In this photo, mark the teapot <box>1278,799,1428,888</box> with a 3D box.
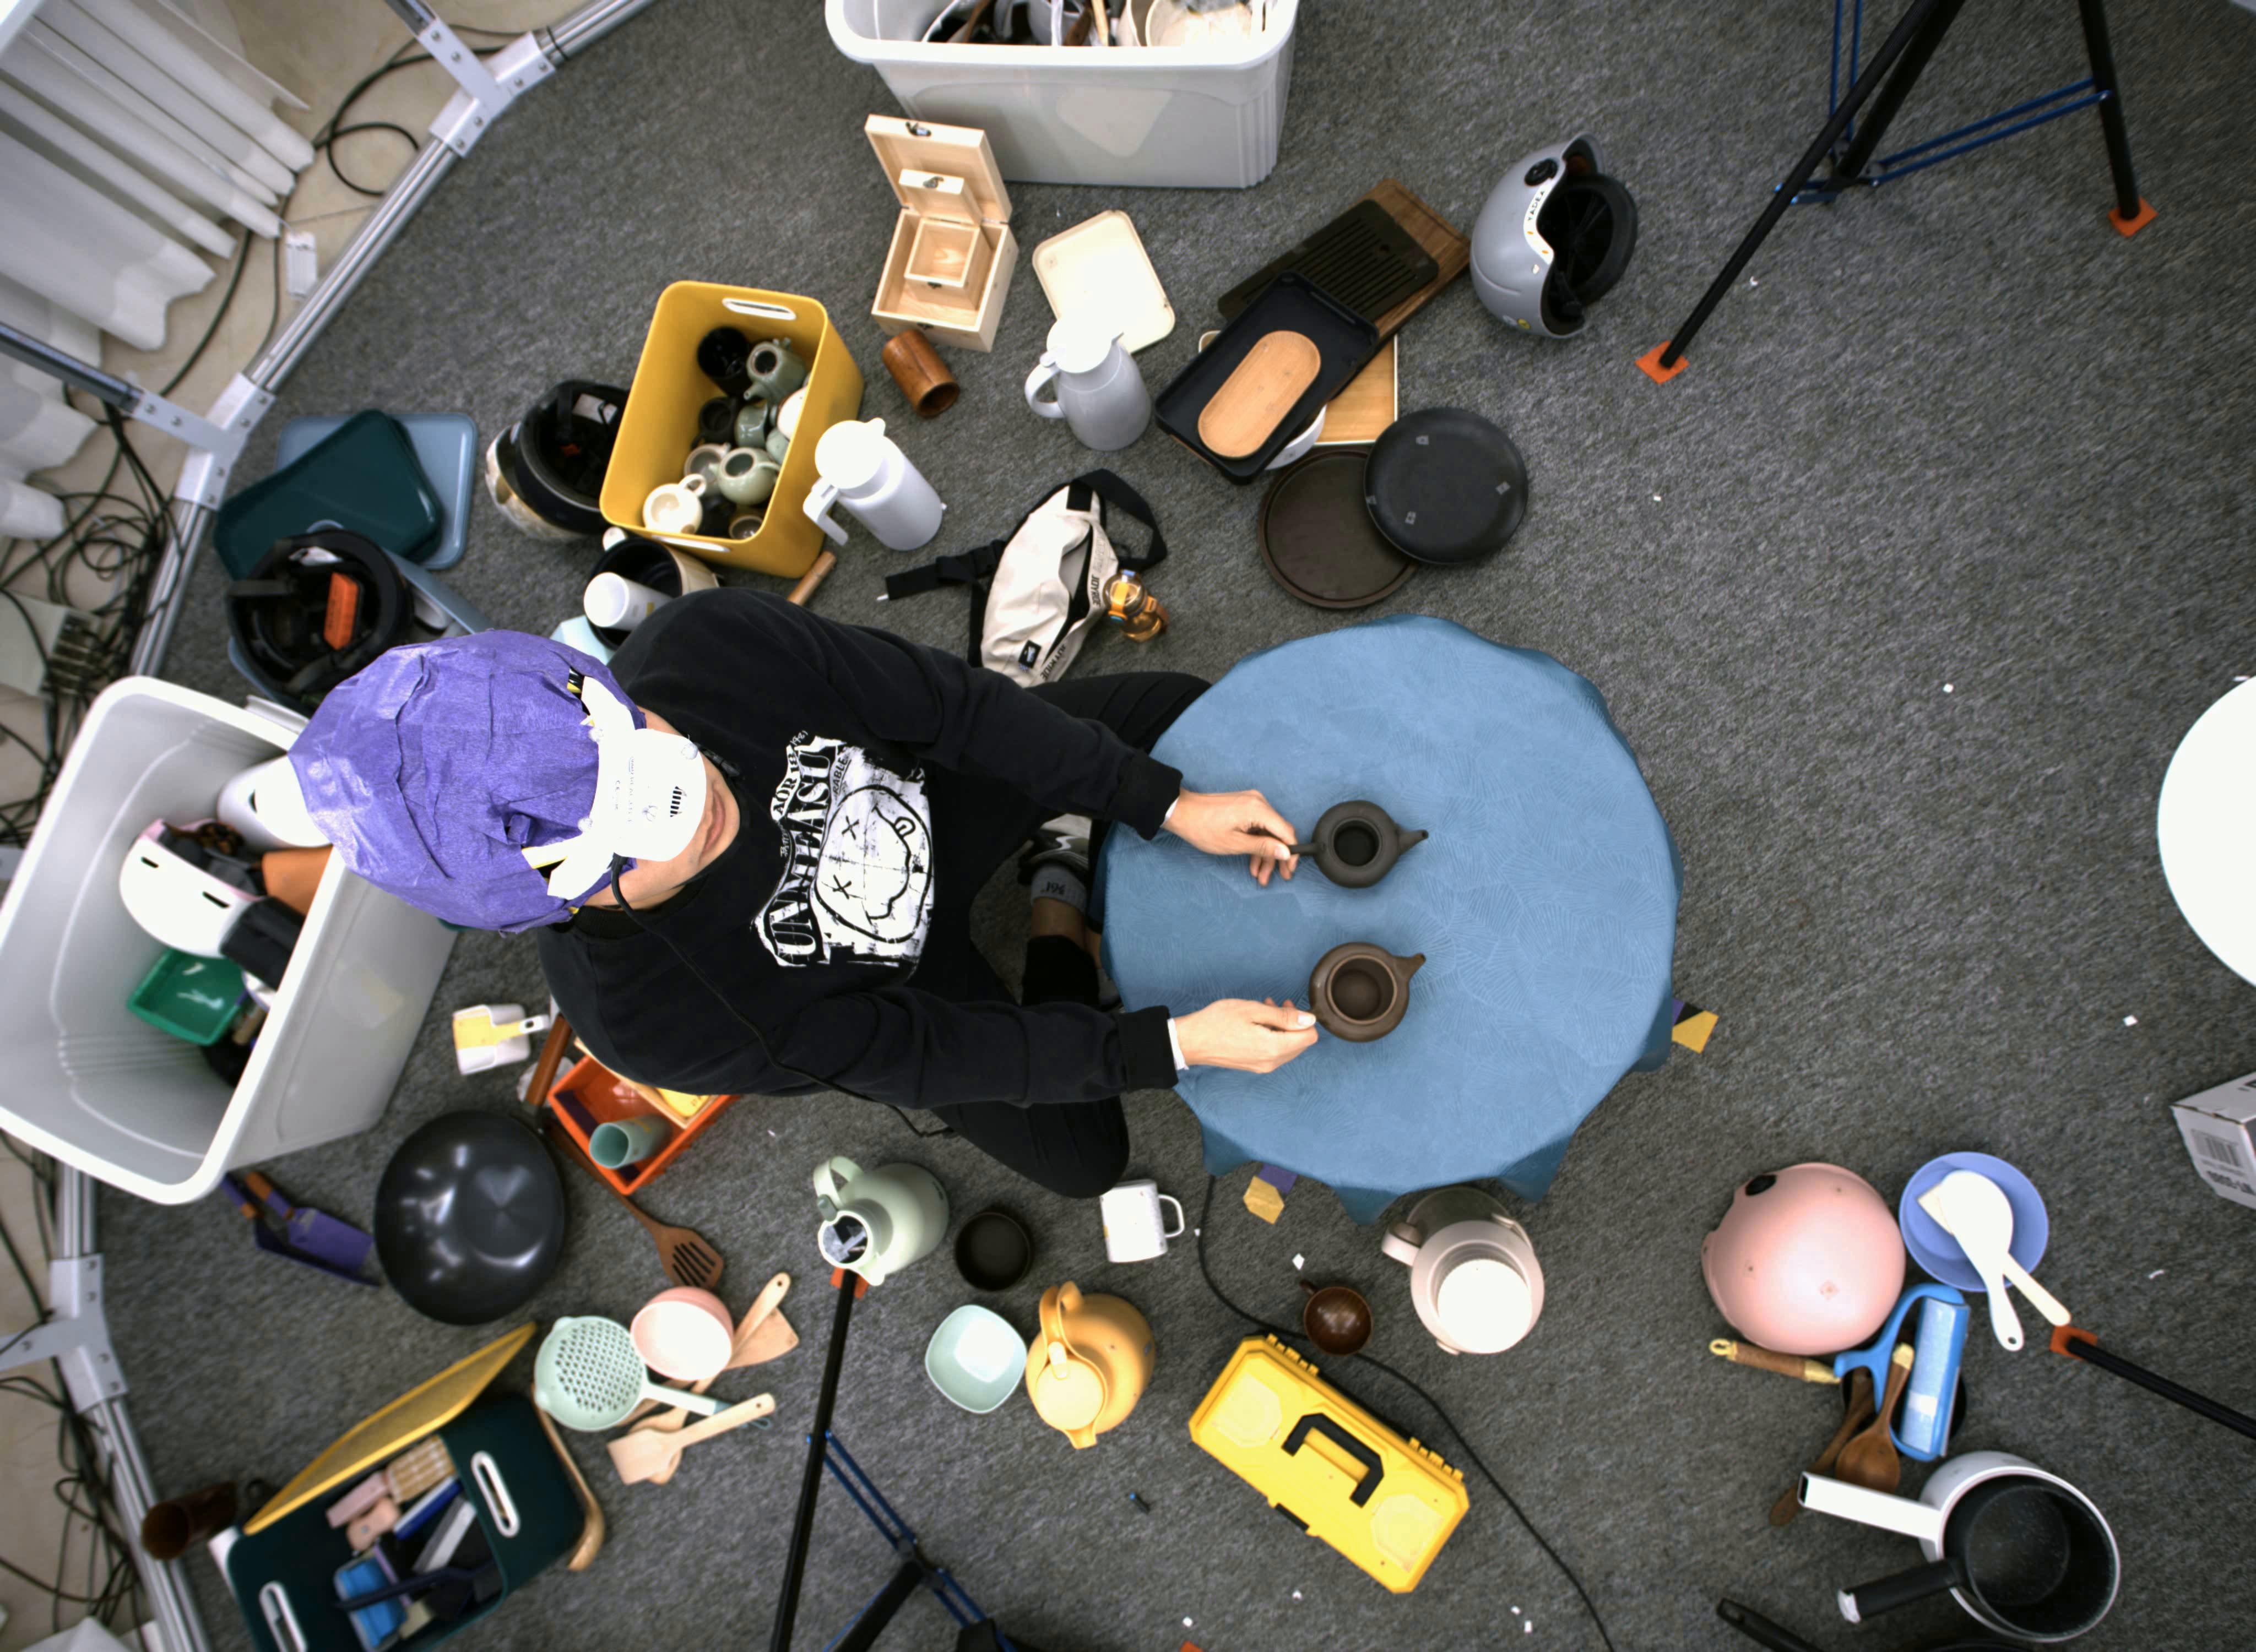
[{"bbox_3d":[0.234,0.018,1.438,0.155,0.064,0.092,-6,84,8],"label":"teapot"}]

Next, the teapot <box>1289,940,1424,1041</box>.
[{"bbox_3d":[0.230,0.167,1.402,0.153,0.054,0.102,-32,77,-5],"label":"teapot"}]
